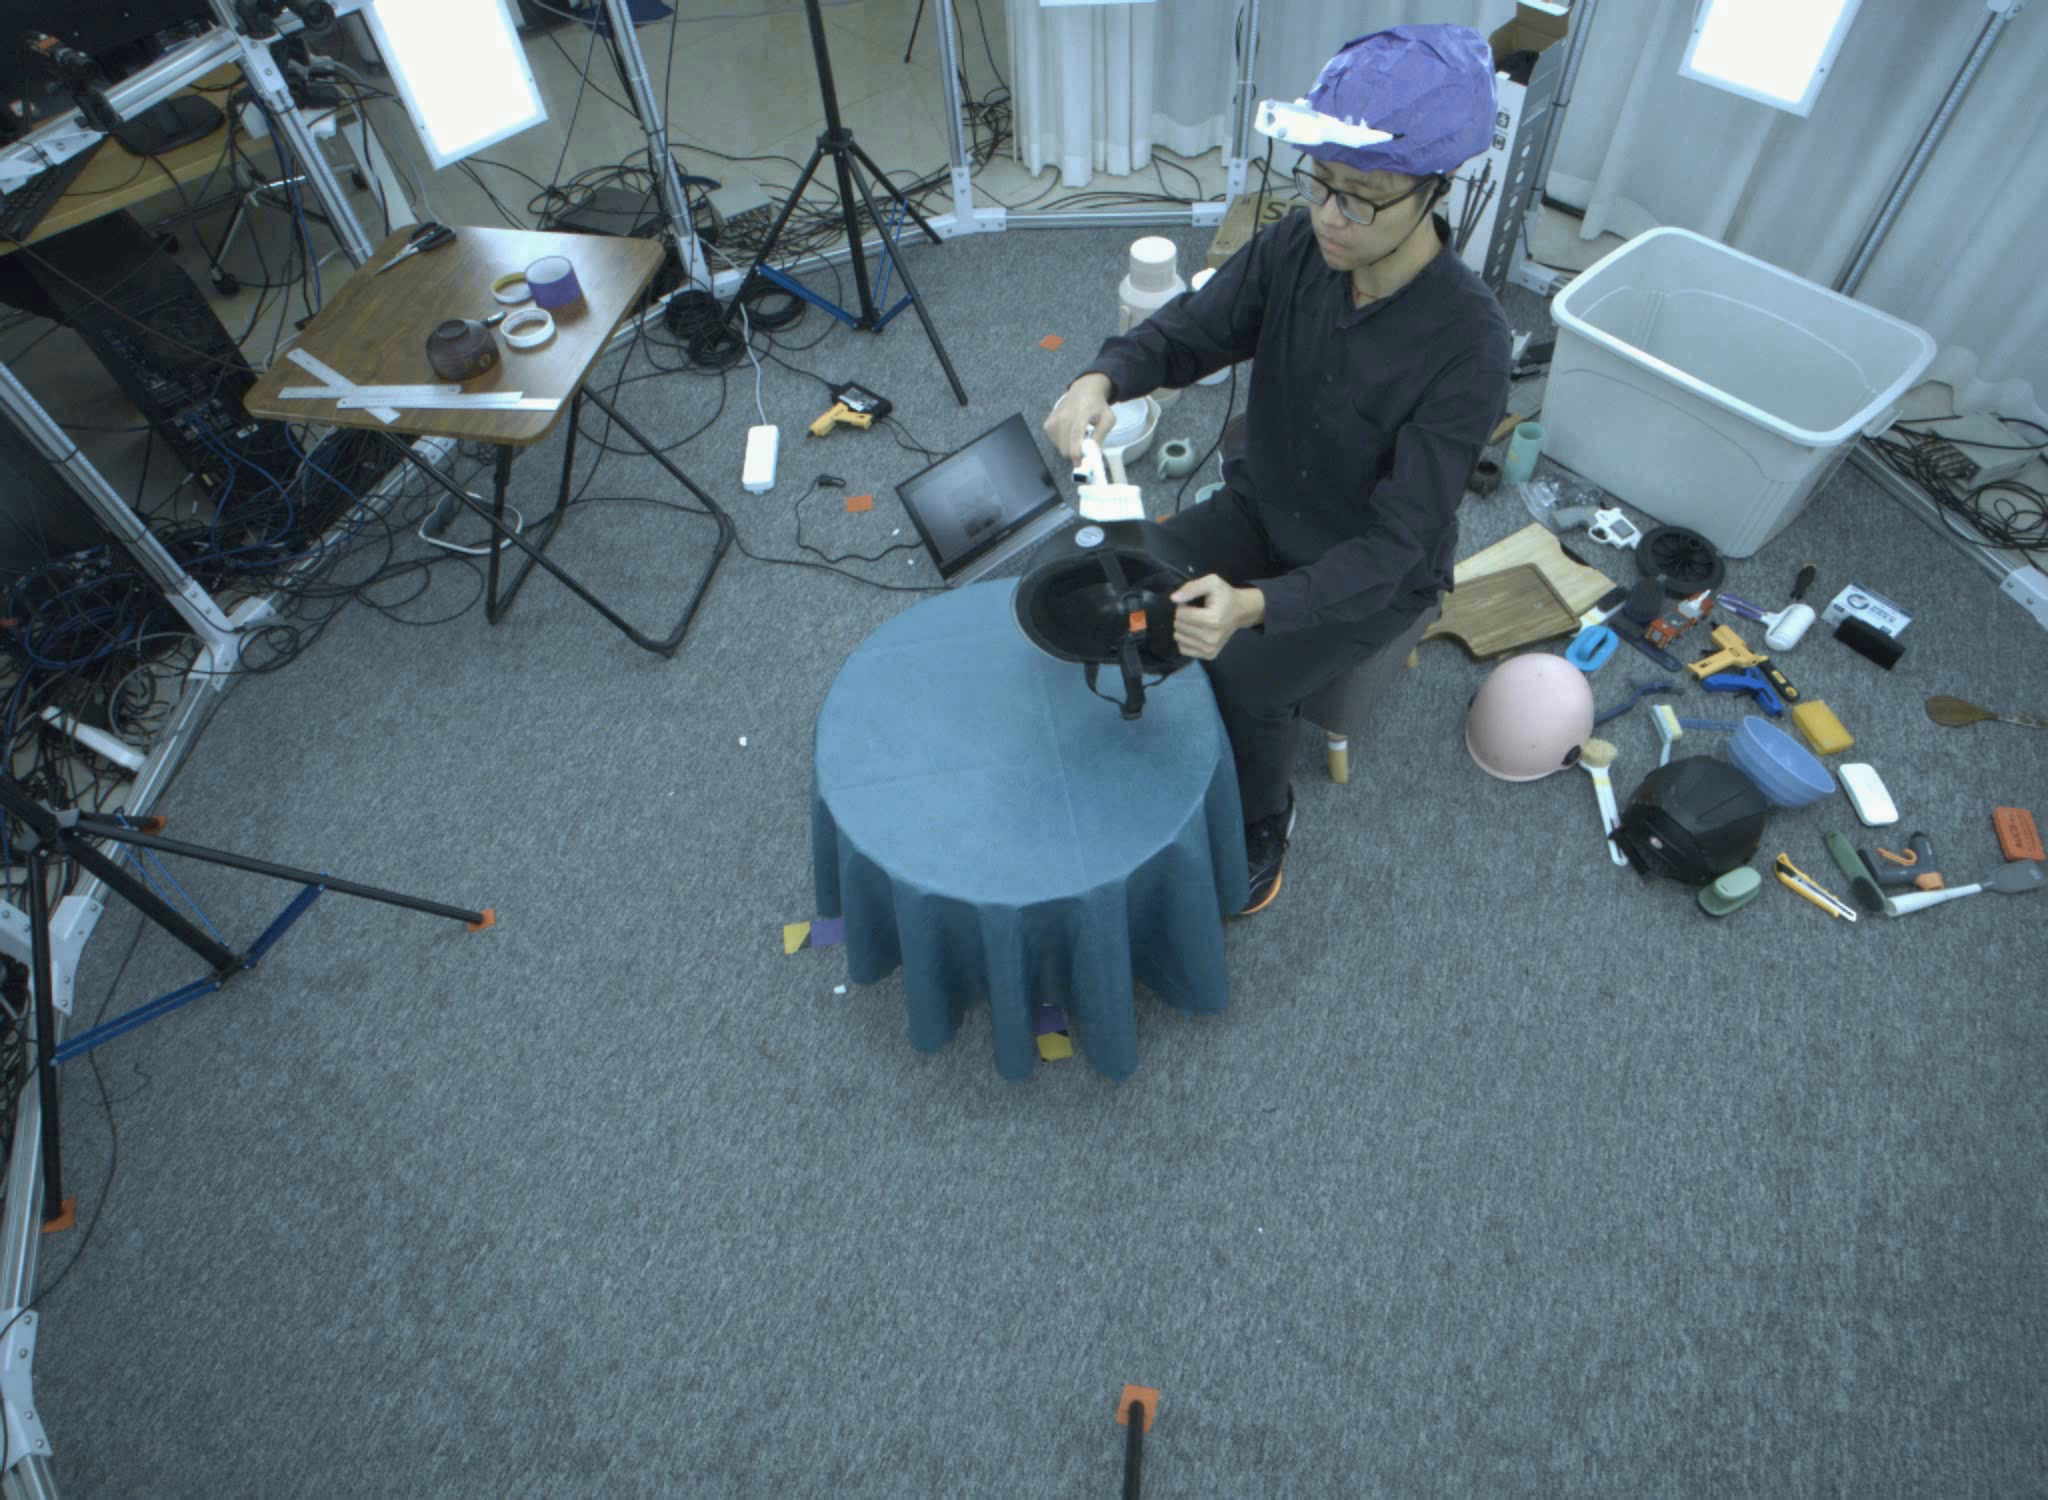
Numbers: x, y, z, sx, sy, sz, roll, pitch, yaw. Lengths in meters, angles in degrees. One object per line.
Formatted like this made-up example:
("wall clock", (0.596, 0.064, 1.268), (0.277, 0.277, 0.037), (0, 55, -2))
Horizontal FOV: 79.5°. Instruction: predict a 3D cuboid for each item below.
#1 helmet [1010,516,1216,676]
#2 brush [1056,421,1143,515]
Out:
("helmet", (0.129, -0.224, 1.675), (0.272, 0.232, 0.166), (9, 51, 7))
("brush", (0.095, -0.370, 1.674), (0.084, 0.085, 0.319), (-49, 30, 12))
